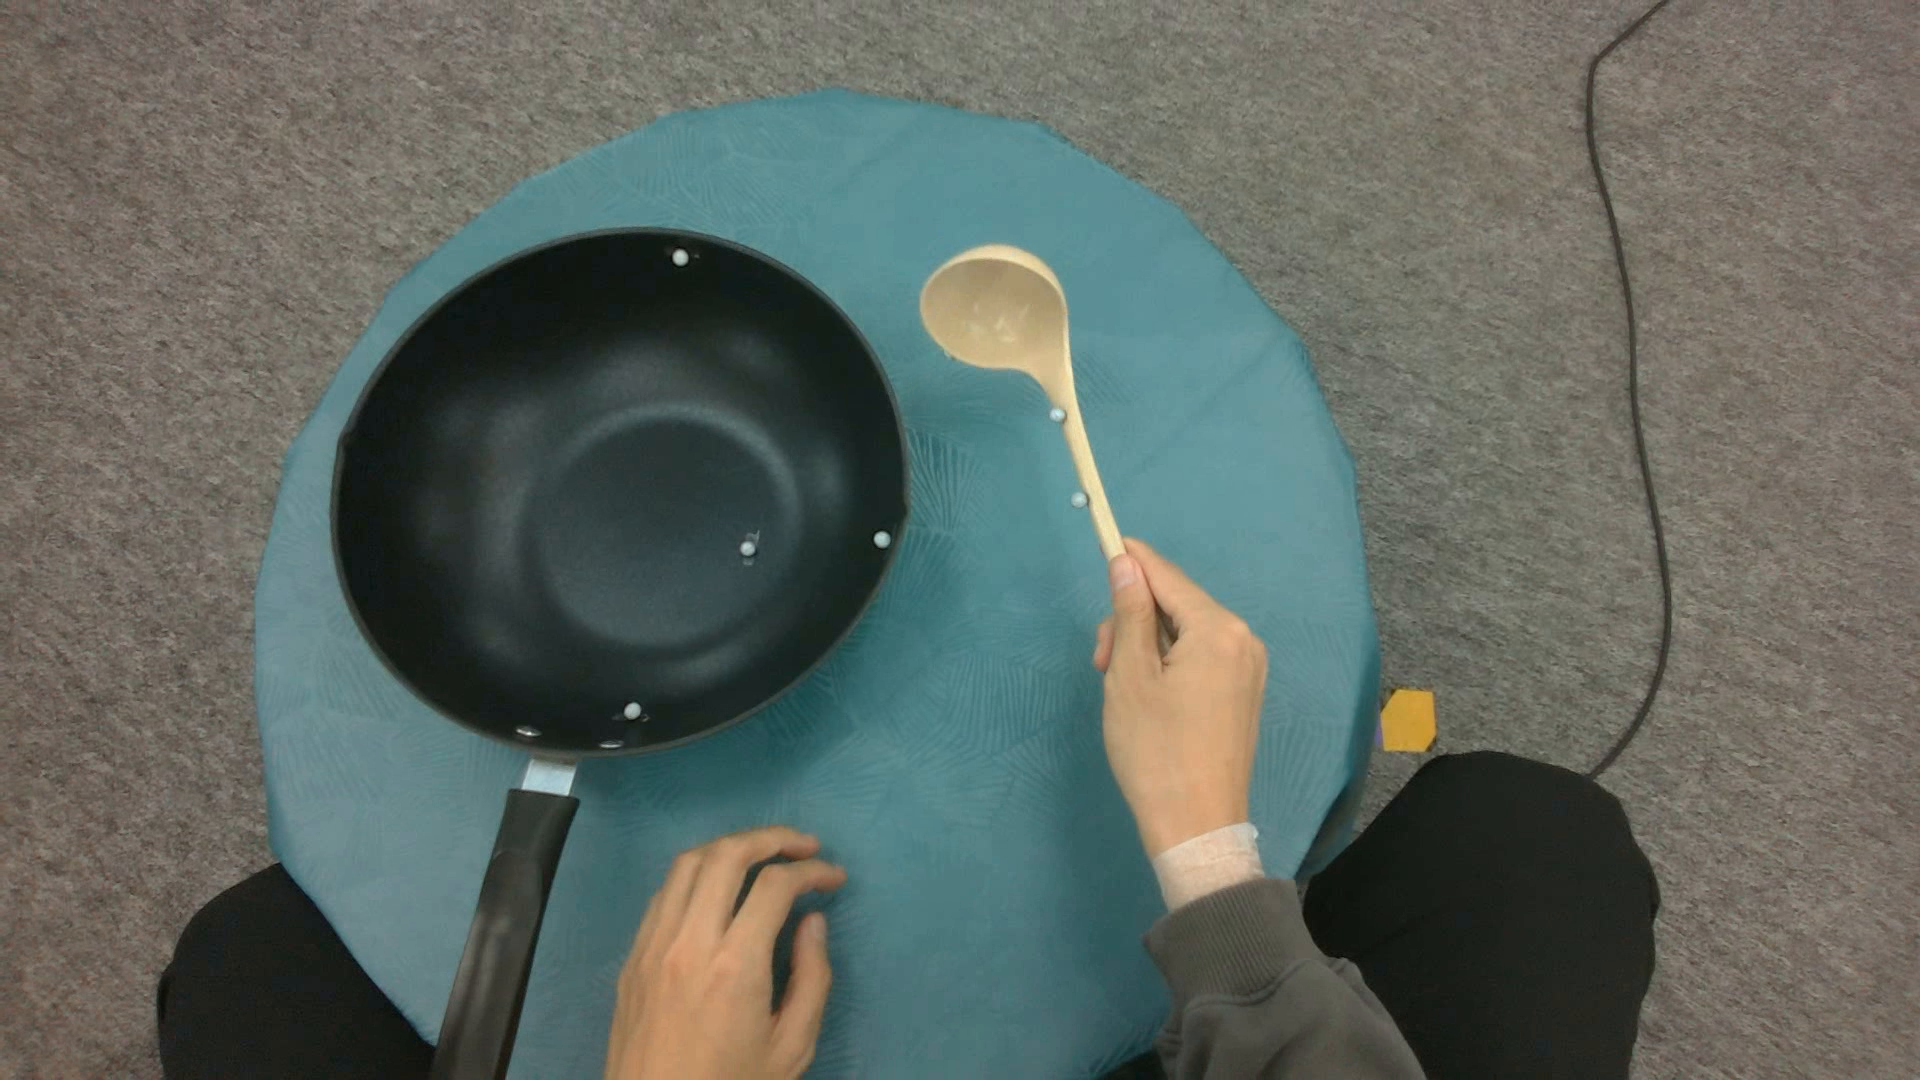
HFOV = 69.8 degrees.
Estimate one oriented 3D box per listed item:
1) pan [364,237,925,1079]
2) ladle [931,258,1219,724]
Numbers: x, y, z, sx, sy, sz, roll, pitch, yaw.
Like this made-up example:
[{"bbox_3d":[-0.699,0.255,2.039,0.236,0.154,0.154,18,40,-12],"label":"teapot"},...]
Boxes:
[{"bbox_3d":[-0.173,0.068,0.699,0.288,0.086,0.464,8,72,5],"label":"pan"},{"bbox_3d":[0.053,-0.027,0.670,0.072,0.073,0.255,-39,60,35],"label":"ladle"}]
